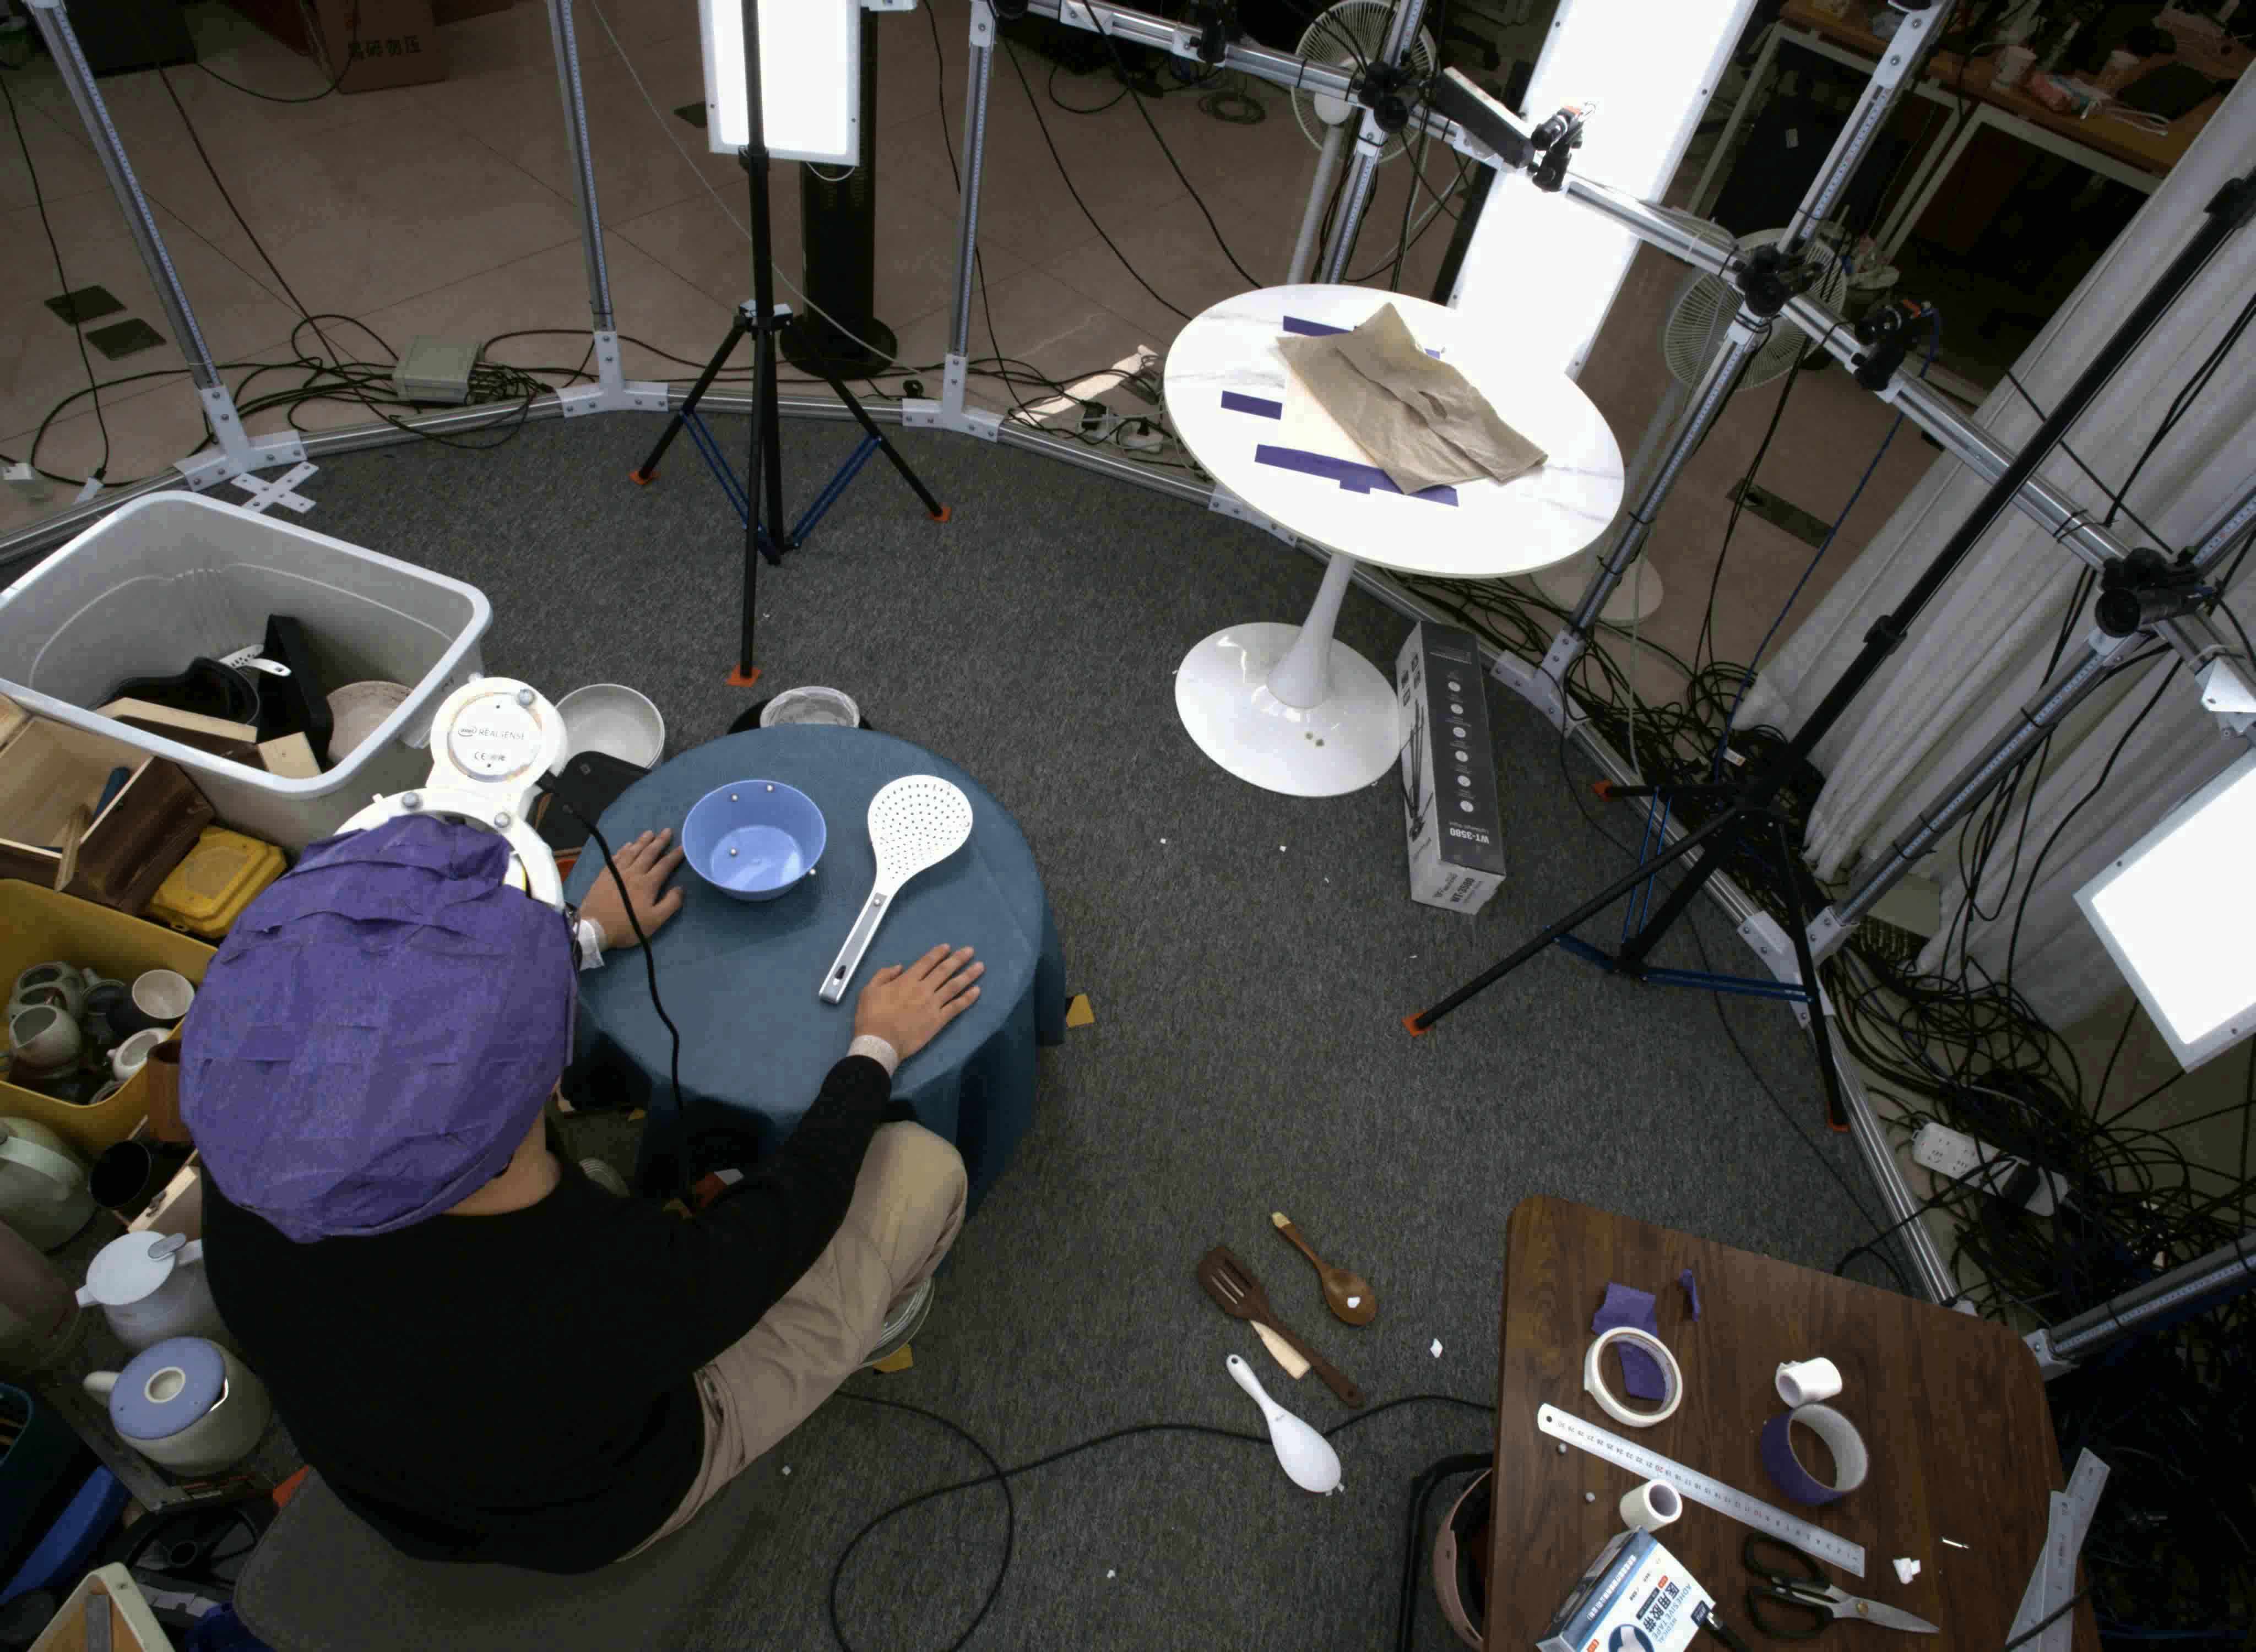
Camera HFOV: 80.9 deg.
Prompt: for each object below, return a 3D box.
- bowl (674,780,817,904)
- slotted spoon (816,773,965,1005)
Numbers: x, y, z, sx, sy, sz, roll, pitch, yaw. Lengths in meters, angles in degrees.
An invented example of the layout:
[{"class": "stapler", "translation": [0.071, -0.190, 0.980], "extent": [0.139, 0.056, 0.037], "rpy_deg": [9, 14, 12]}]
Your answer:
[{"class": "bowl", "translation": [-0.481, 0.029, 1.636], "extent": [0.175, 0.072, 0.173], "rpy_deg": [7, 53, -8]}, {"class": "slotted spoon", "translation": [-0.315, 0.074, 1.663], "extent": [0.135, 0.046, 0.346], "rpy_deg": [20, 53, 1]}]
